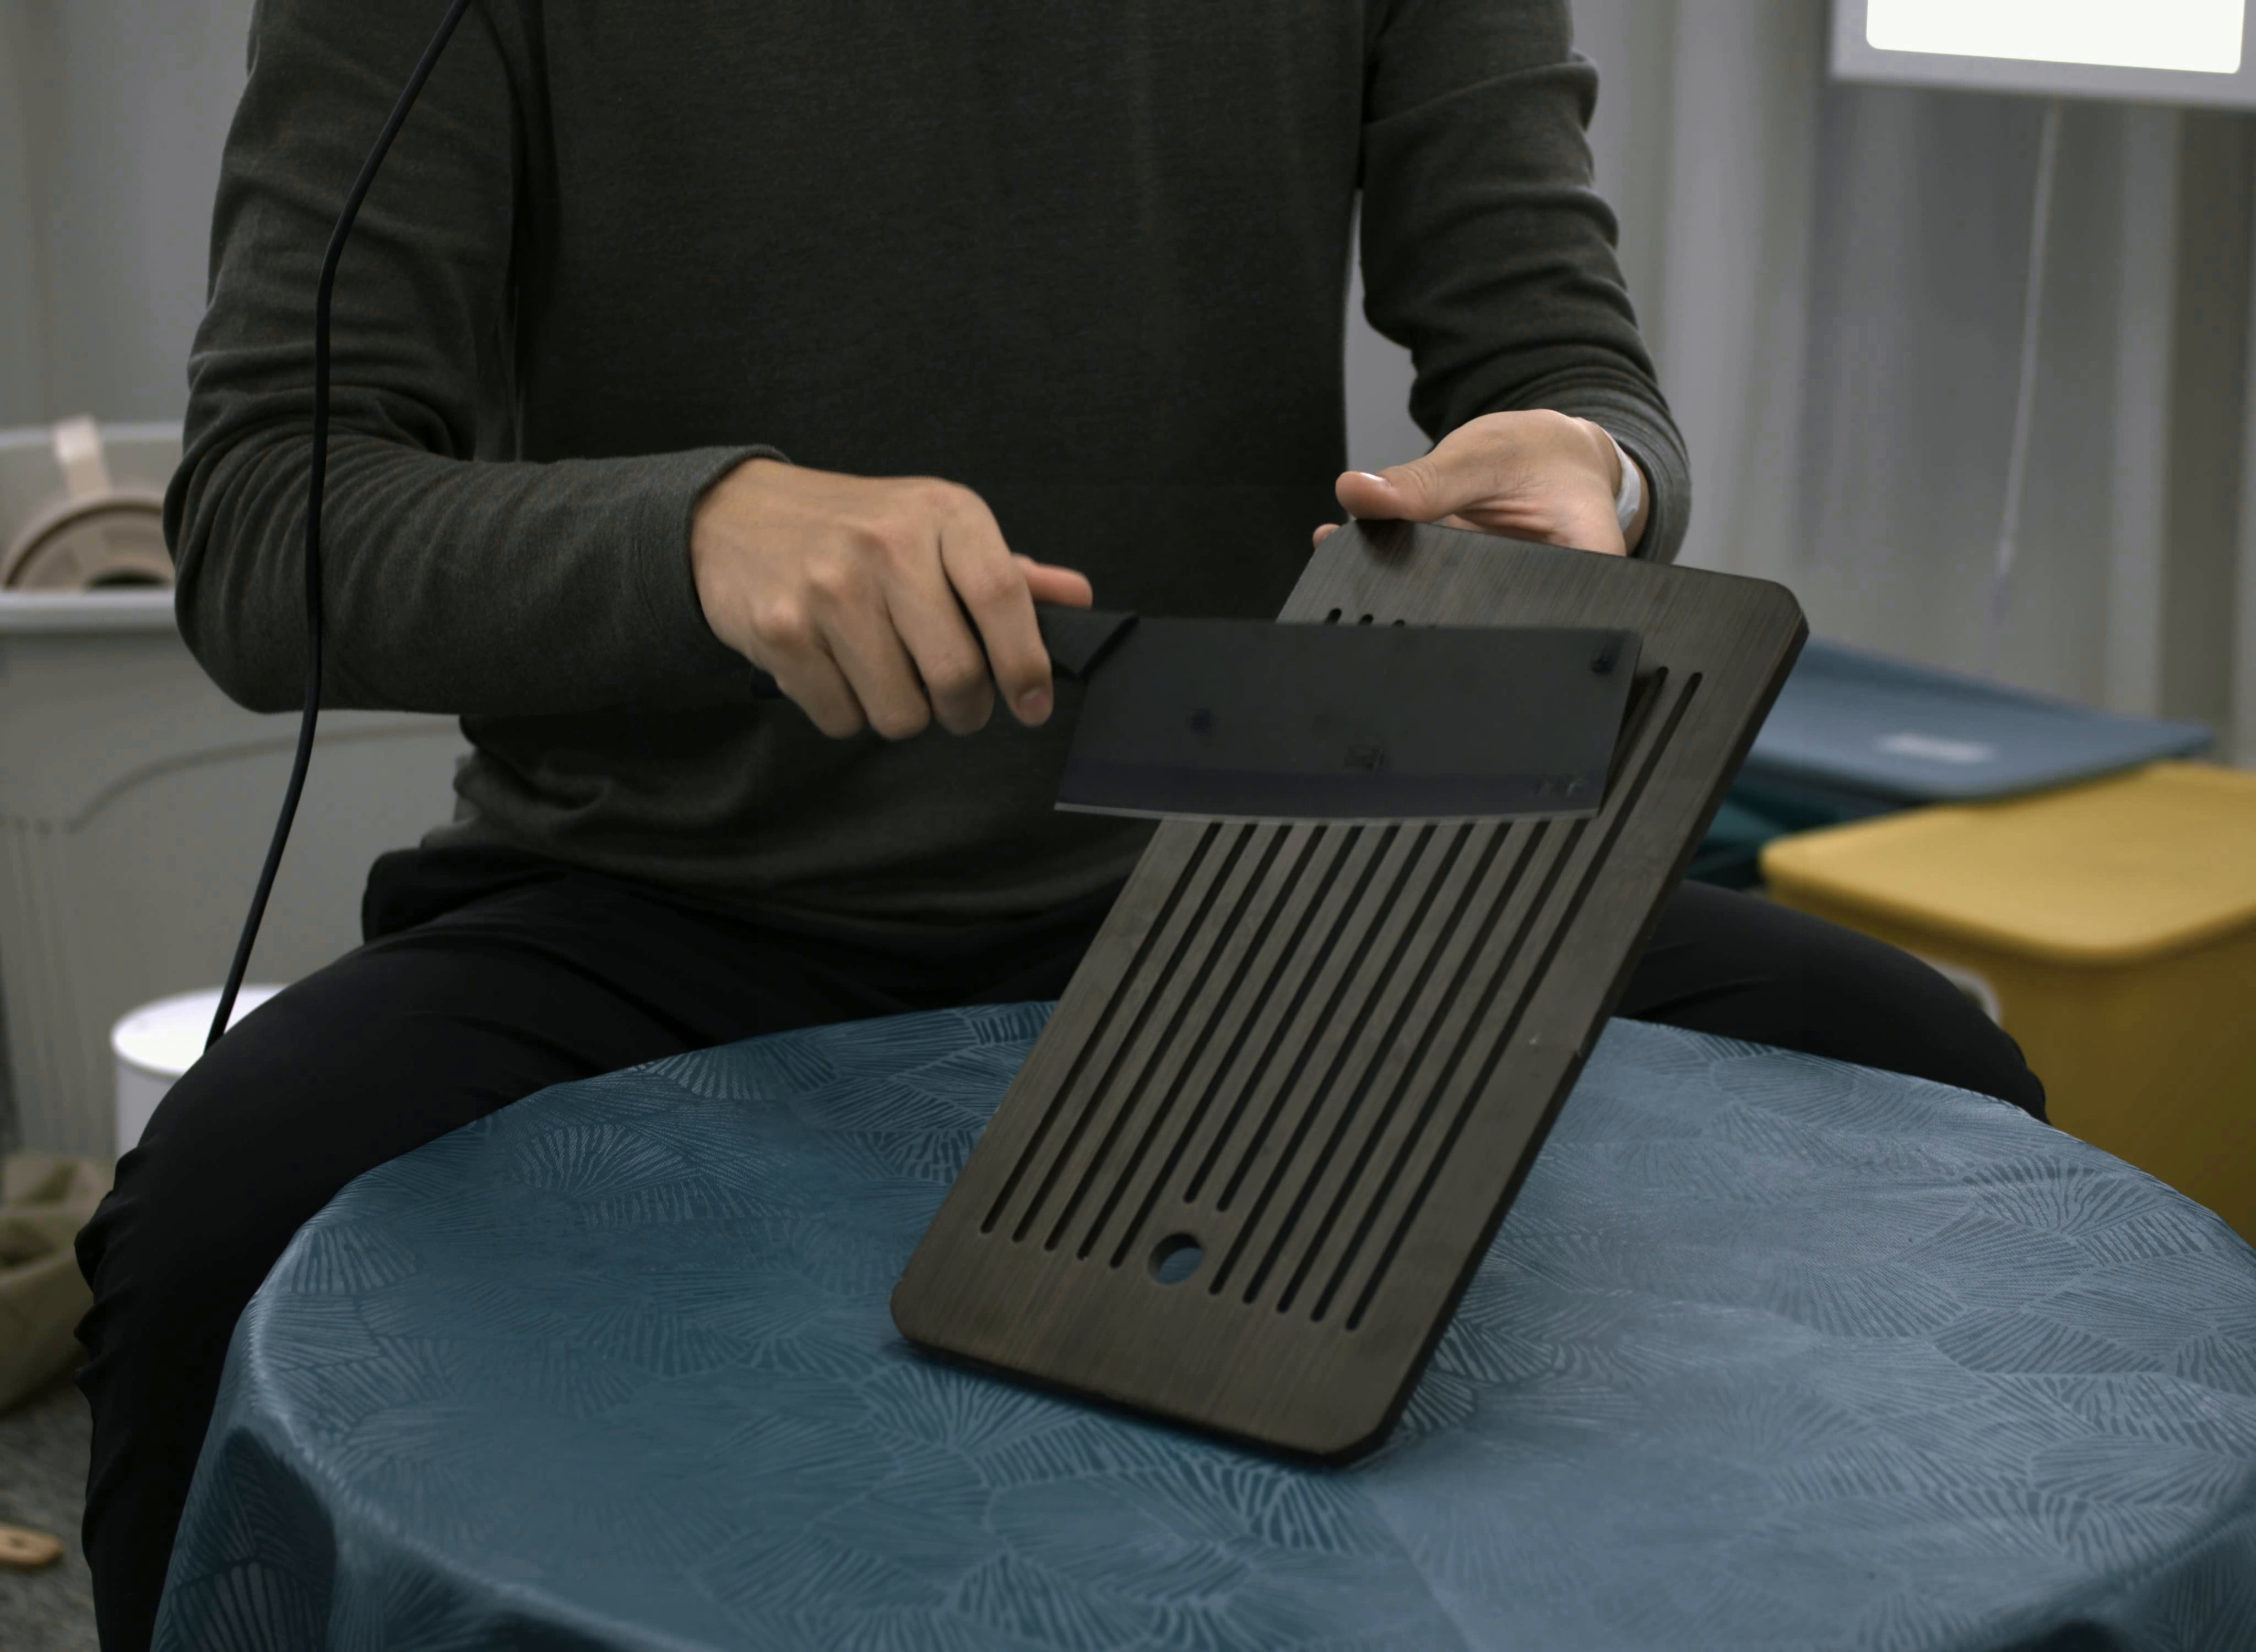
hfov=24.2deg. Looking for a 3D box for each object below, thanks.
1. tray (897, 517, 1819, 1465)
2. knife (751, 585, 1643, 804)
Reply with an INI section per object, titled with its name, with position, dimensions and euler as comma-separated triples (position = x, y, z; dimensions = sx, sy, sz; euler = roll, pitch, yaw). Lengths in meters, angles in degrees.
[tray]
position = 0.069, 0.040, 1.509
dimensions = 0.168, 0.019, 0.305
euler = 12, 59, 36
[knife]
position = 0.014, -0.041, 1.584
dimensions = 0.299, 0.081, 0.021
euler = 7, -25, 31
